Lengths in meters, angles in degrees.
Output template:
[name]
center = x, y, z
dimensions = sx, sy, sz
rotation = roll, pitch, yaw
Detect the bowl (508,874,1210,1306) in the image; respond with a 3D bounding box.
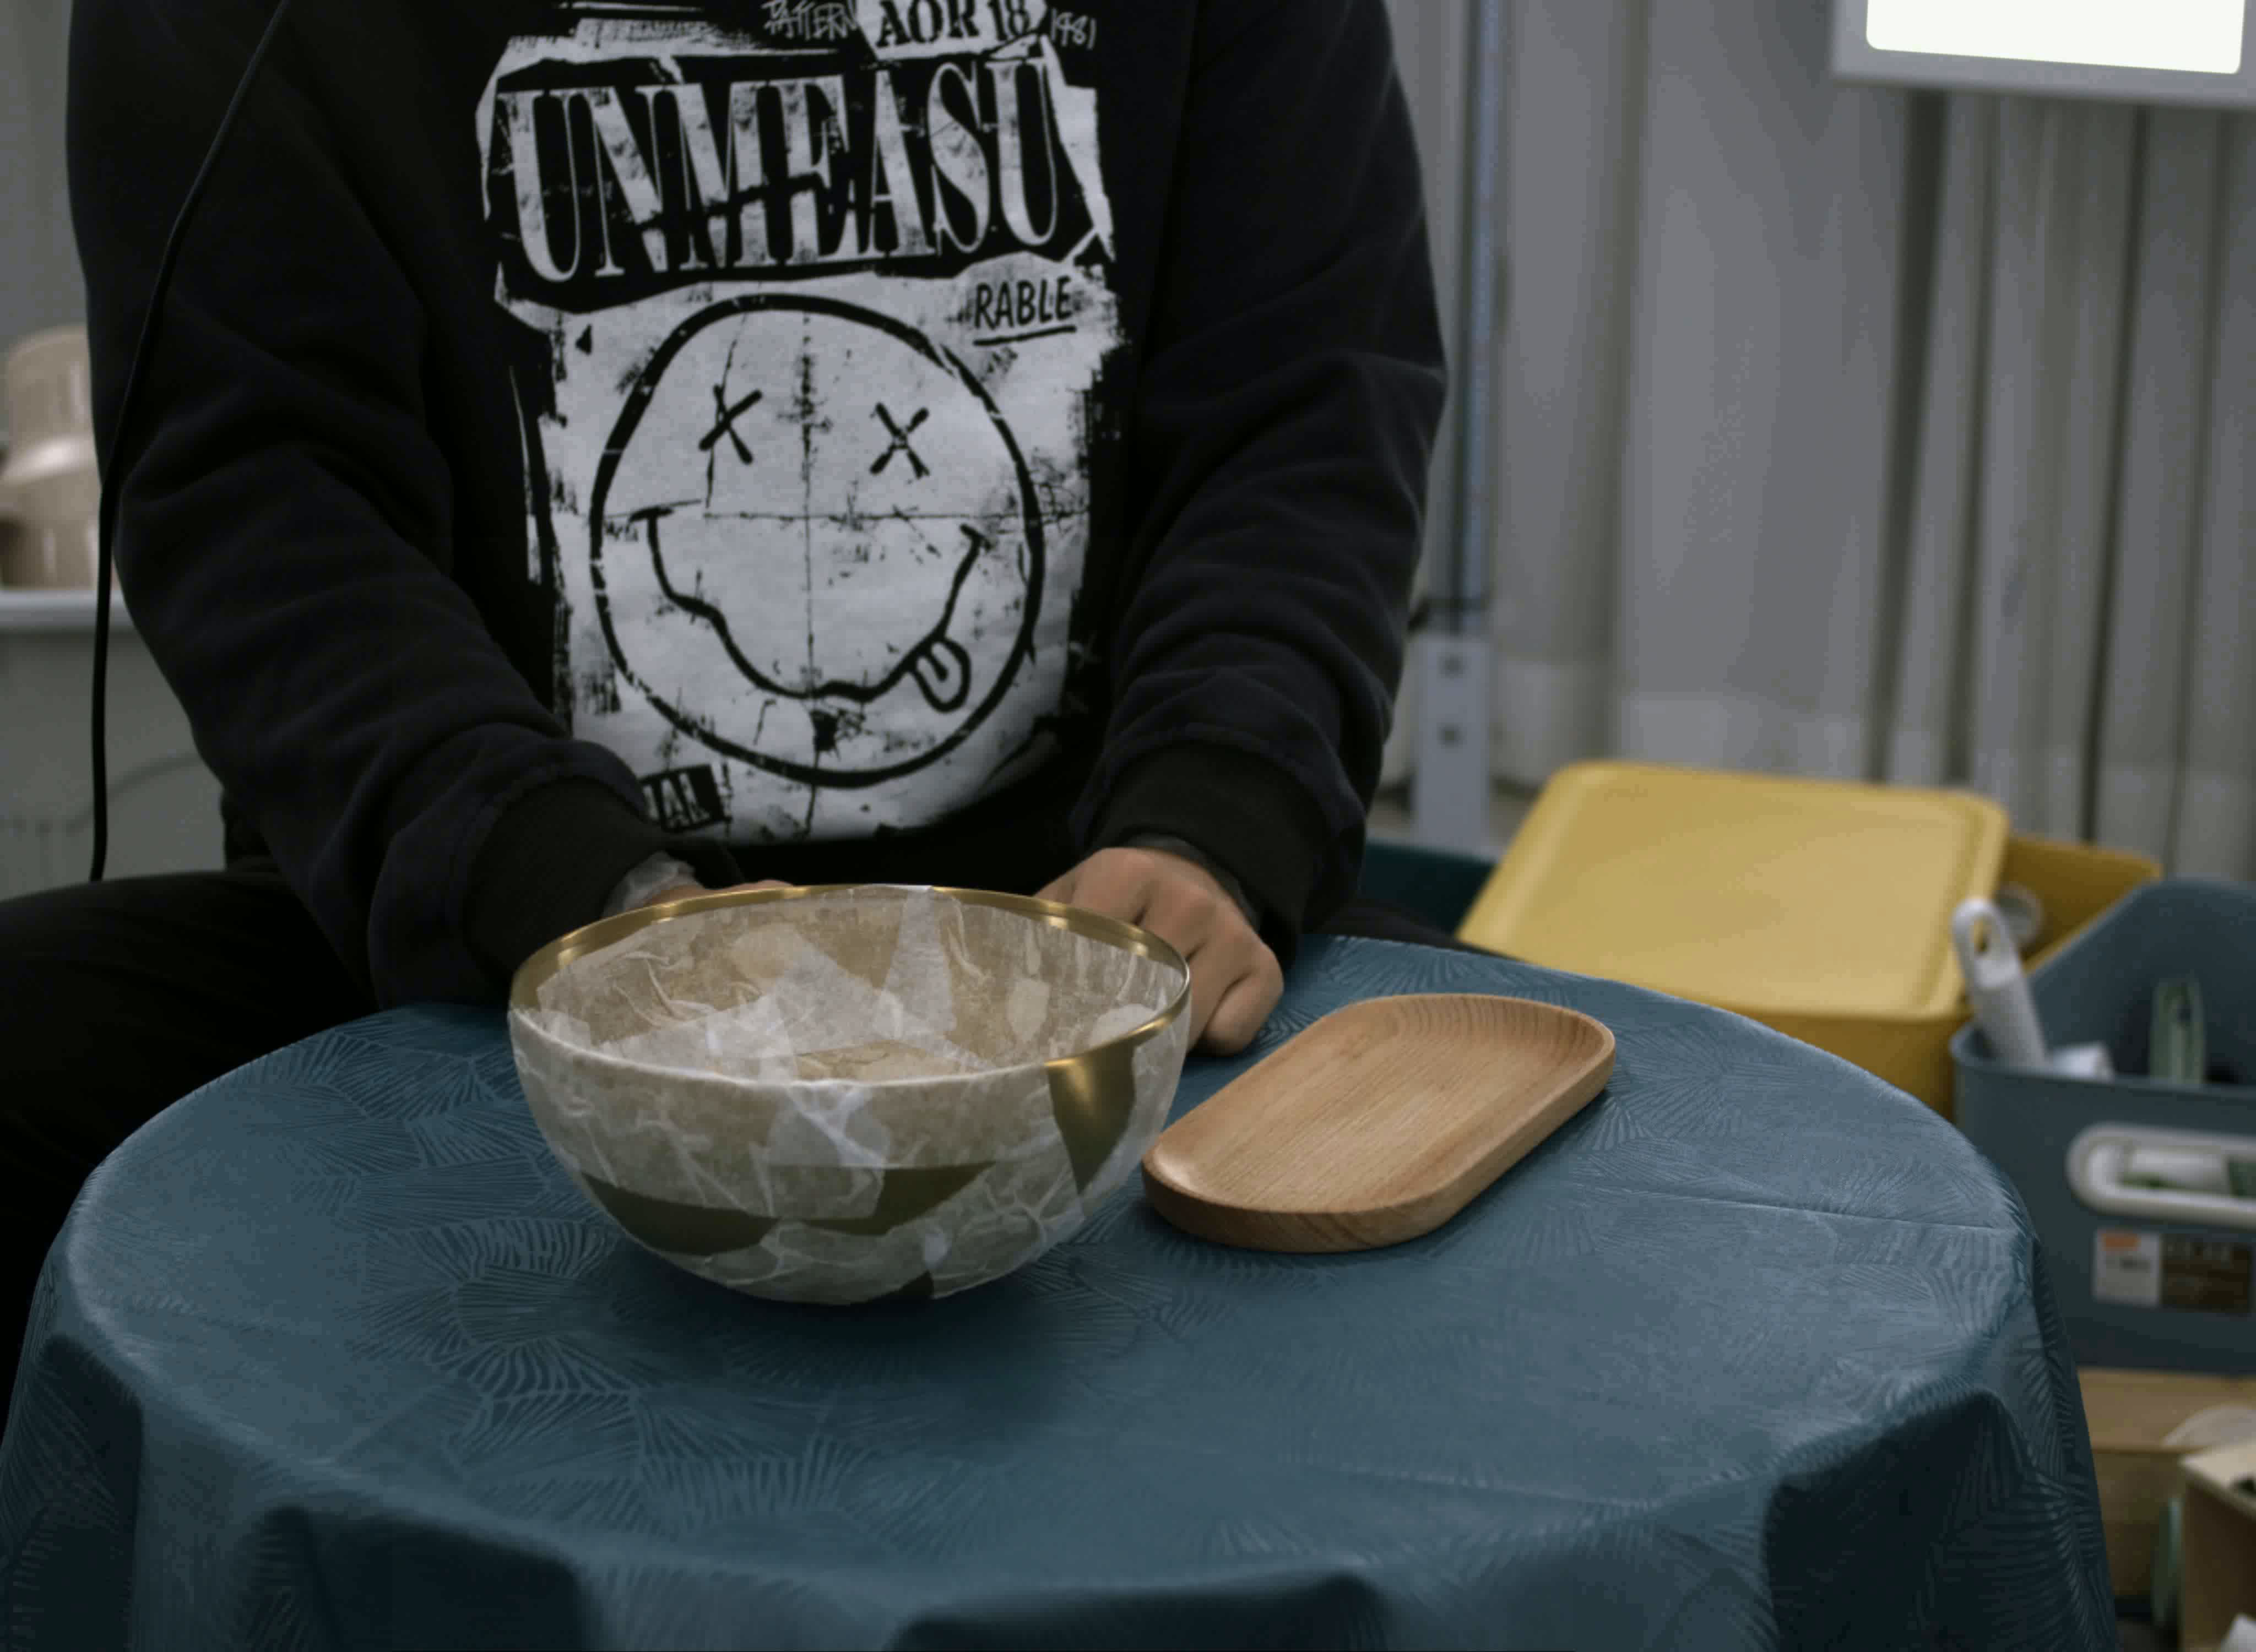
[bowl]
center = -0.077, 0.085, 1.548
dimensions = 0.214, 0.095, 0.213
rotation = 0, 16, 1

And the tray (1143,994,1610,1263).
[tray]
center = 0.082, 0.094, 1.669
dimensions = 0.100, 0.020, 0.231
rotation = 5, 18, 23
